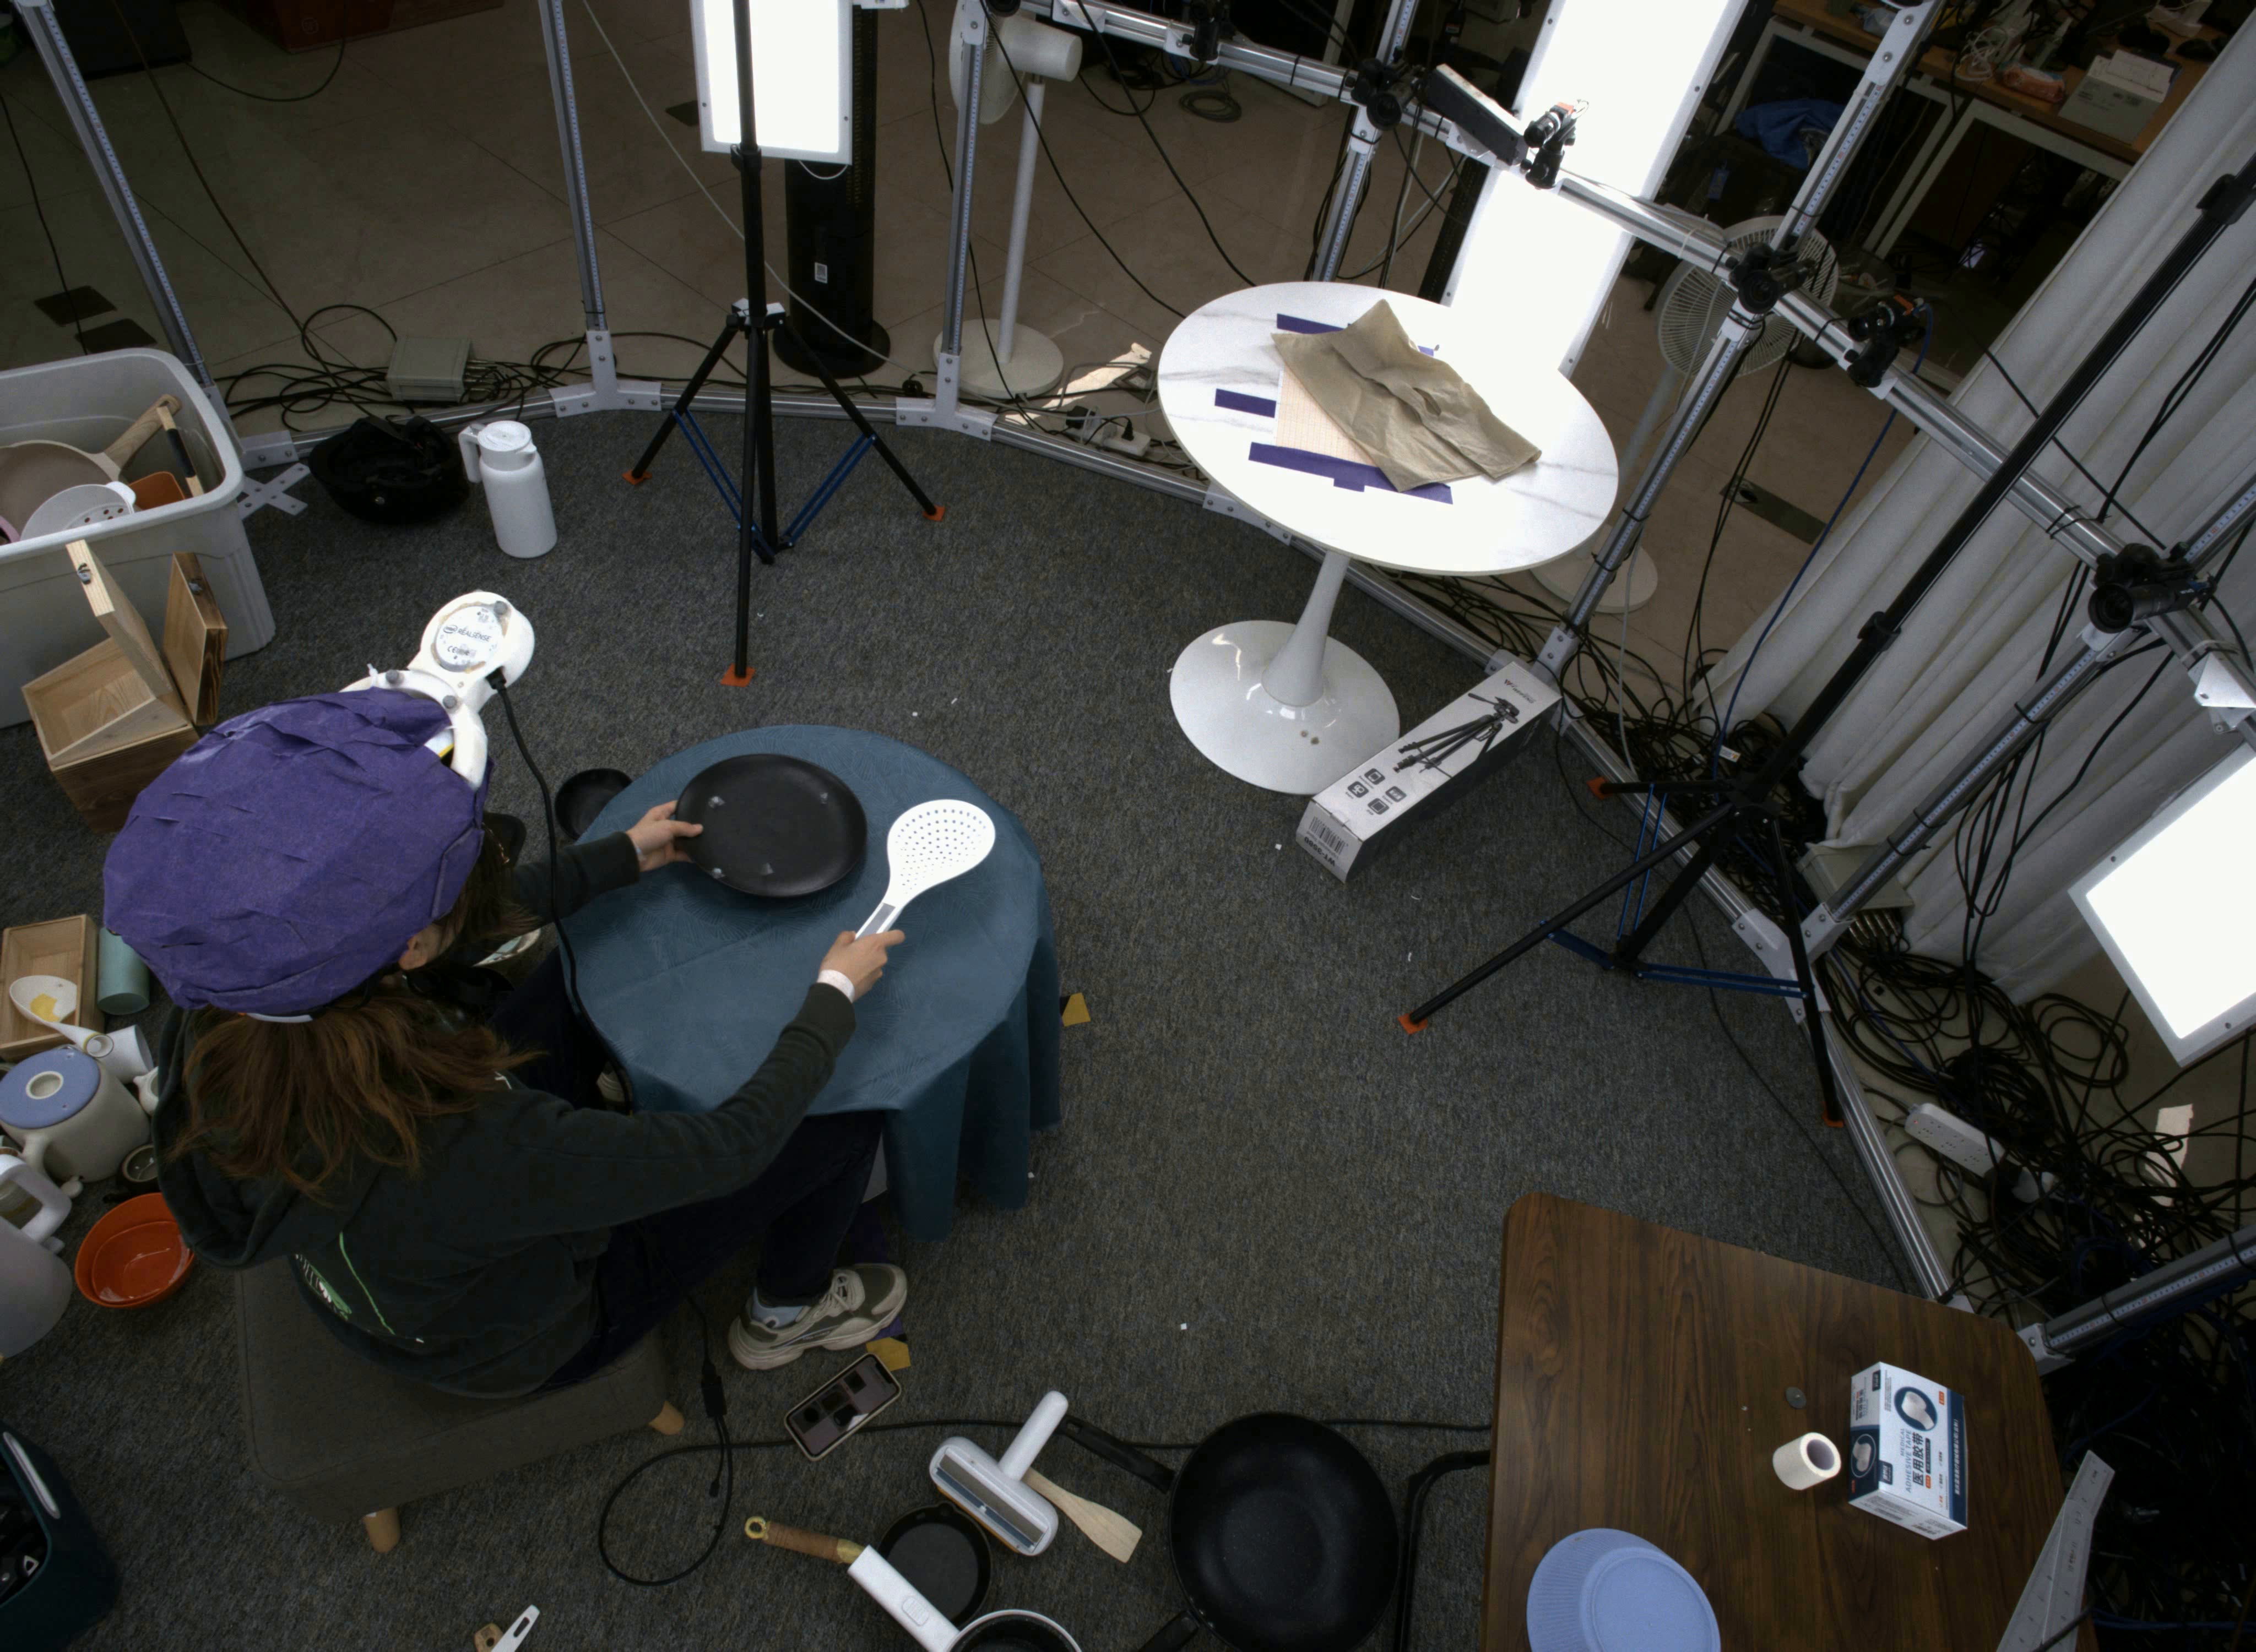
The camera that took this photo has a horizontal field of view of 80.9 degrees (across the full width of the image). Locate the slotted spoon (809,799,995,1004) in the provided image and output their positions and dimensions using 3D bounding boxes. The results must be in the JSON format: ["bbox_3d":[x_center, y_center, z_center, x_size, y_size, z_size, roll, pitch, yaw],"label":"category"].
[{"bbox_3d":[-0.285,0.087,1.612,0.132,0.047,0.348,19,44,17],"label":"slotted spoon"}]

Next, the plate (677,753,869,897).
[{"bbox_3d":[-0.460,0.000,1.680,0.245,0.024,0.239,14,46,-13],"label":"plate"}]
